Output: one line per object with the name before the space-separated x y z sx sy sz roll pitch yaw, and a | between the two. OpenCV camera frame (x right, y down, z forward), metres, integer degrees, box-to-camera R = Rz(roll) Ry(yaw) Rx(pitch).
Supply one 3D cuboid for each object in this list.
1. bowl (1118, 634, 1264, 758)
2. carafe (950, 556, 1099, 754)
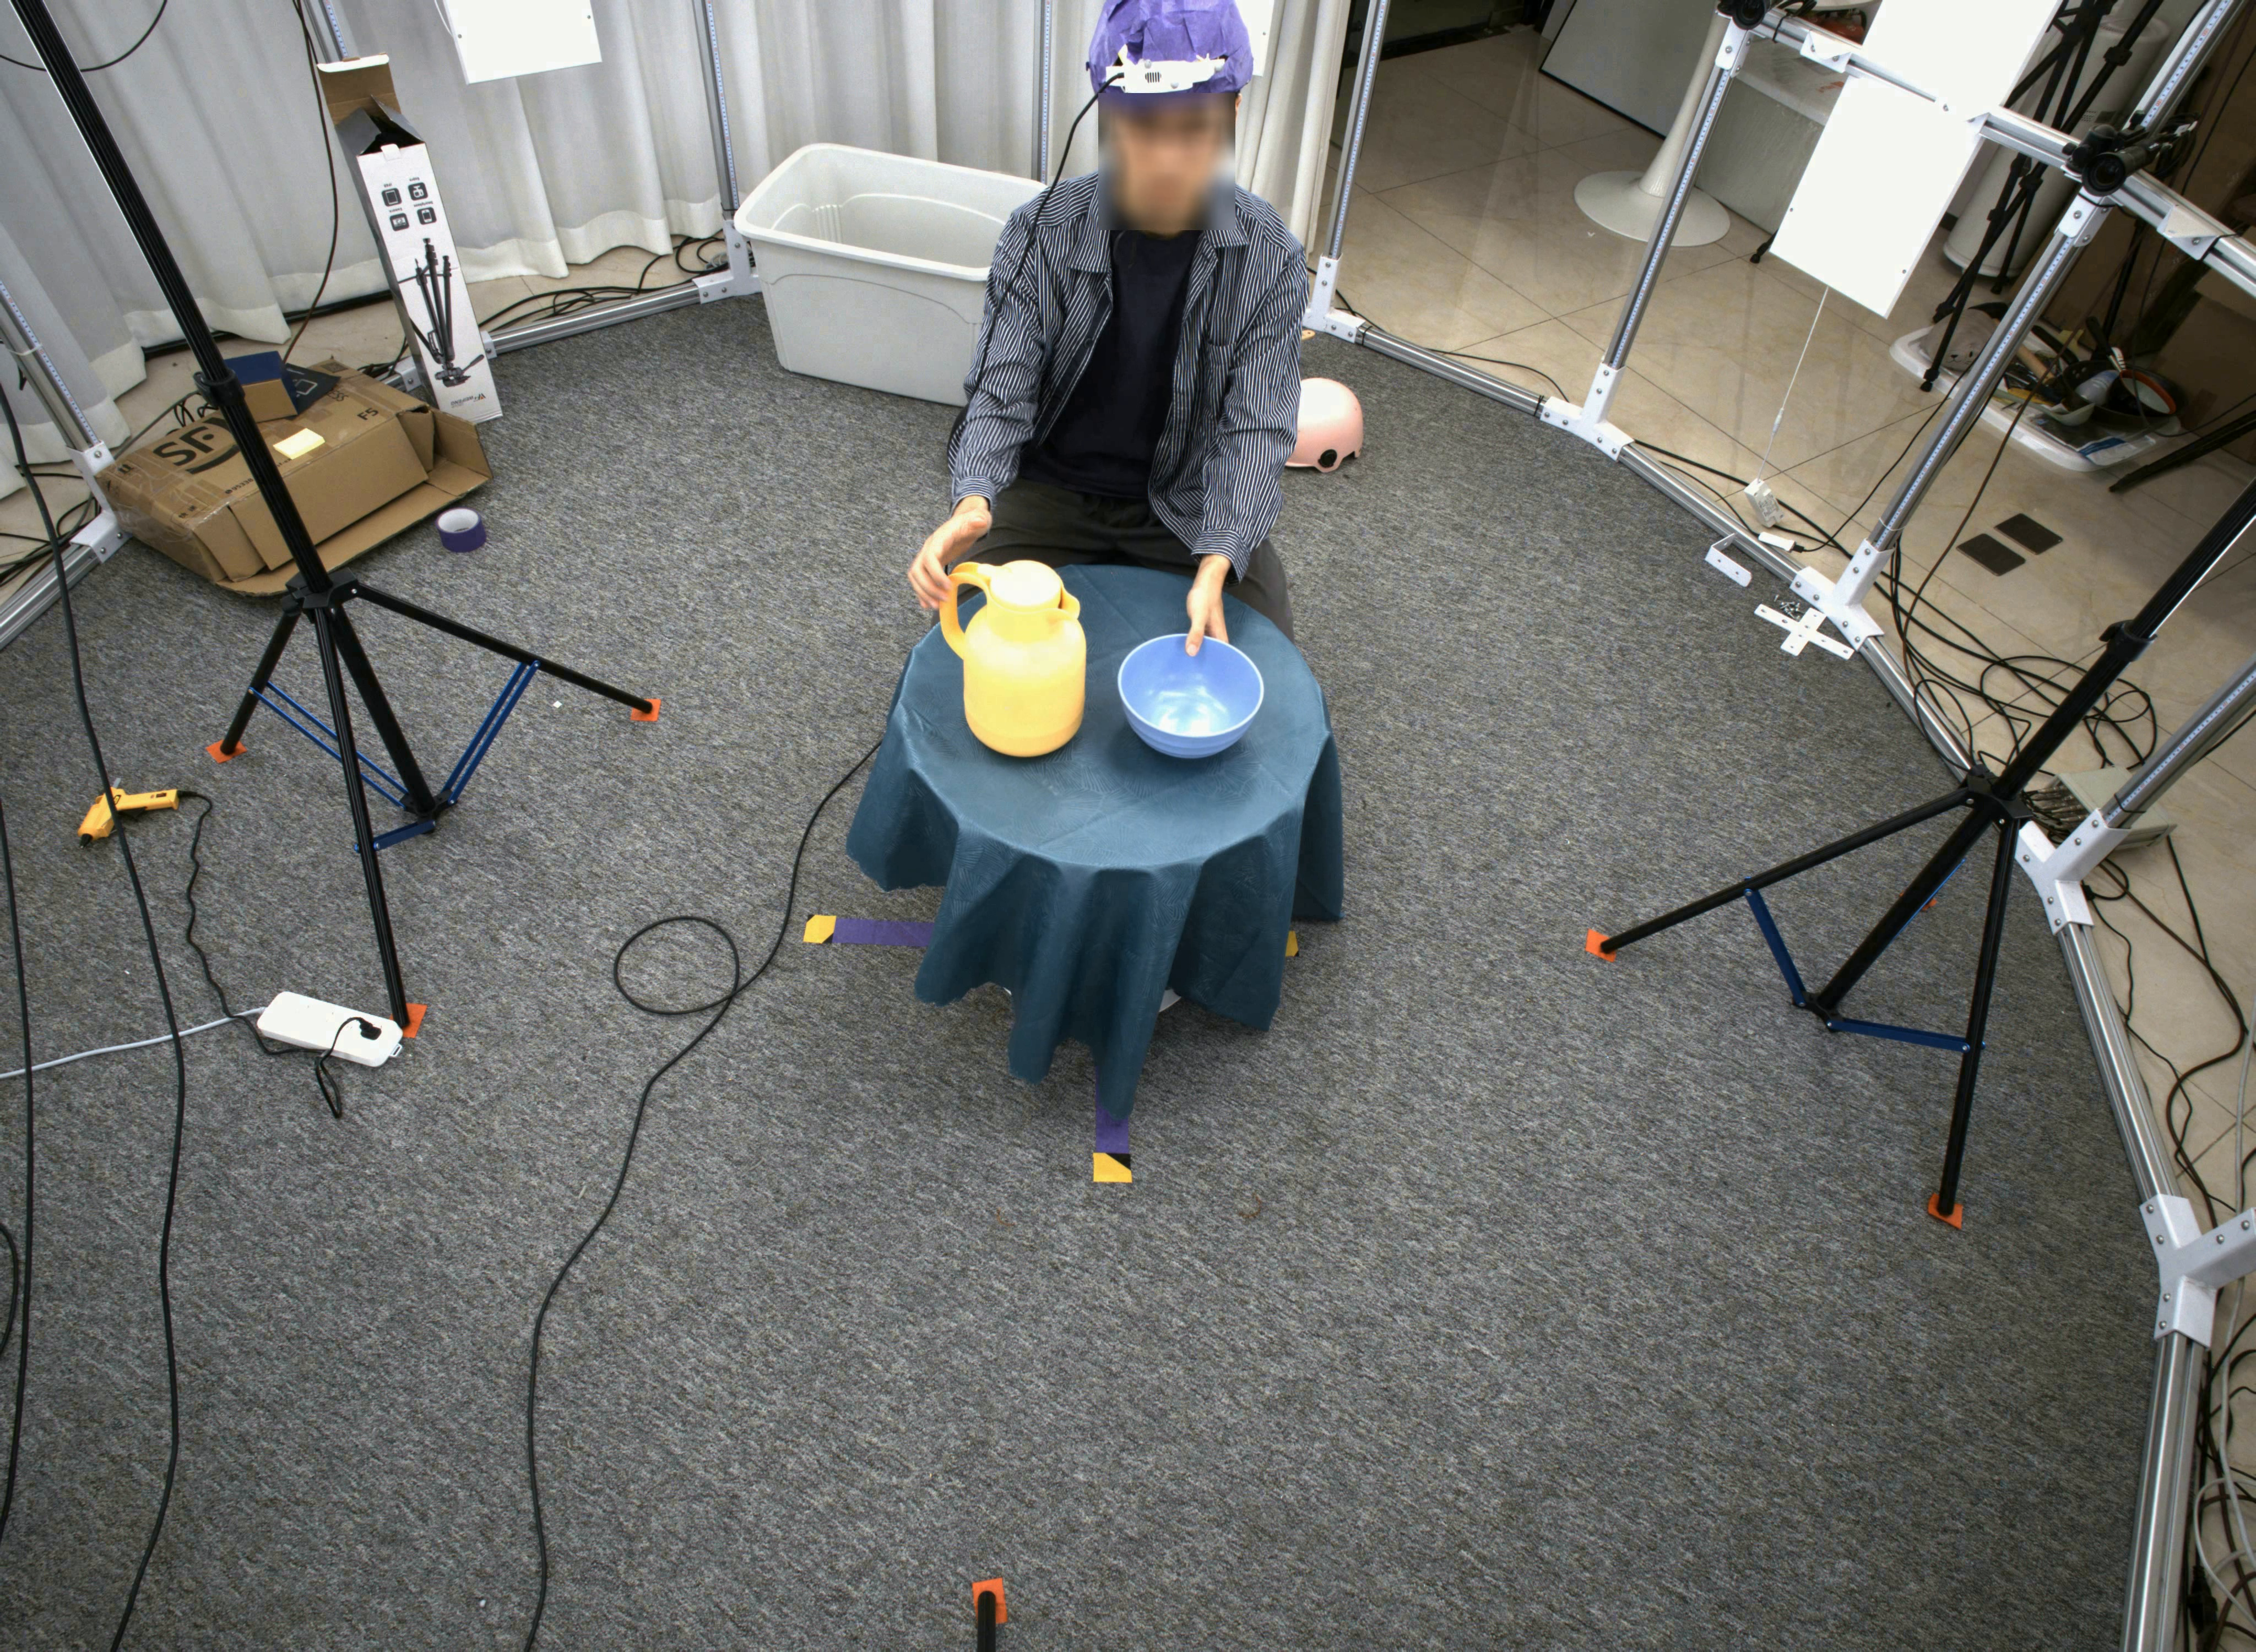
bowl | 0.081 -0.162 1.745 0.196 0.093 0.201 2 49 -3
carafe | -0.135 -0.235 1.683 0.203 0.254 0.166 22 51 14
